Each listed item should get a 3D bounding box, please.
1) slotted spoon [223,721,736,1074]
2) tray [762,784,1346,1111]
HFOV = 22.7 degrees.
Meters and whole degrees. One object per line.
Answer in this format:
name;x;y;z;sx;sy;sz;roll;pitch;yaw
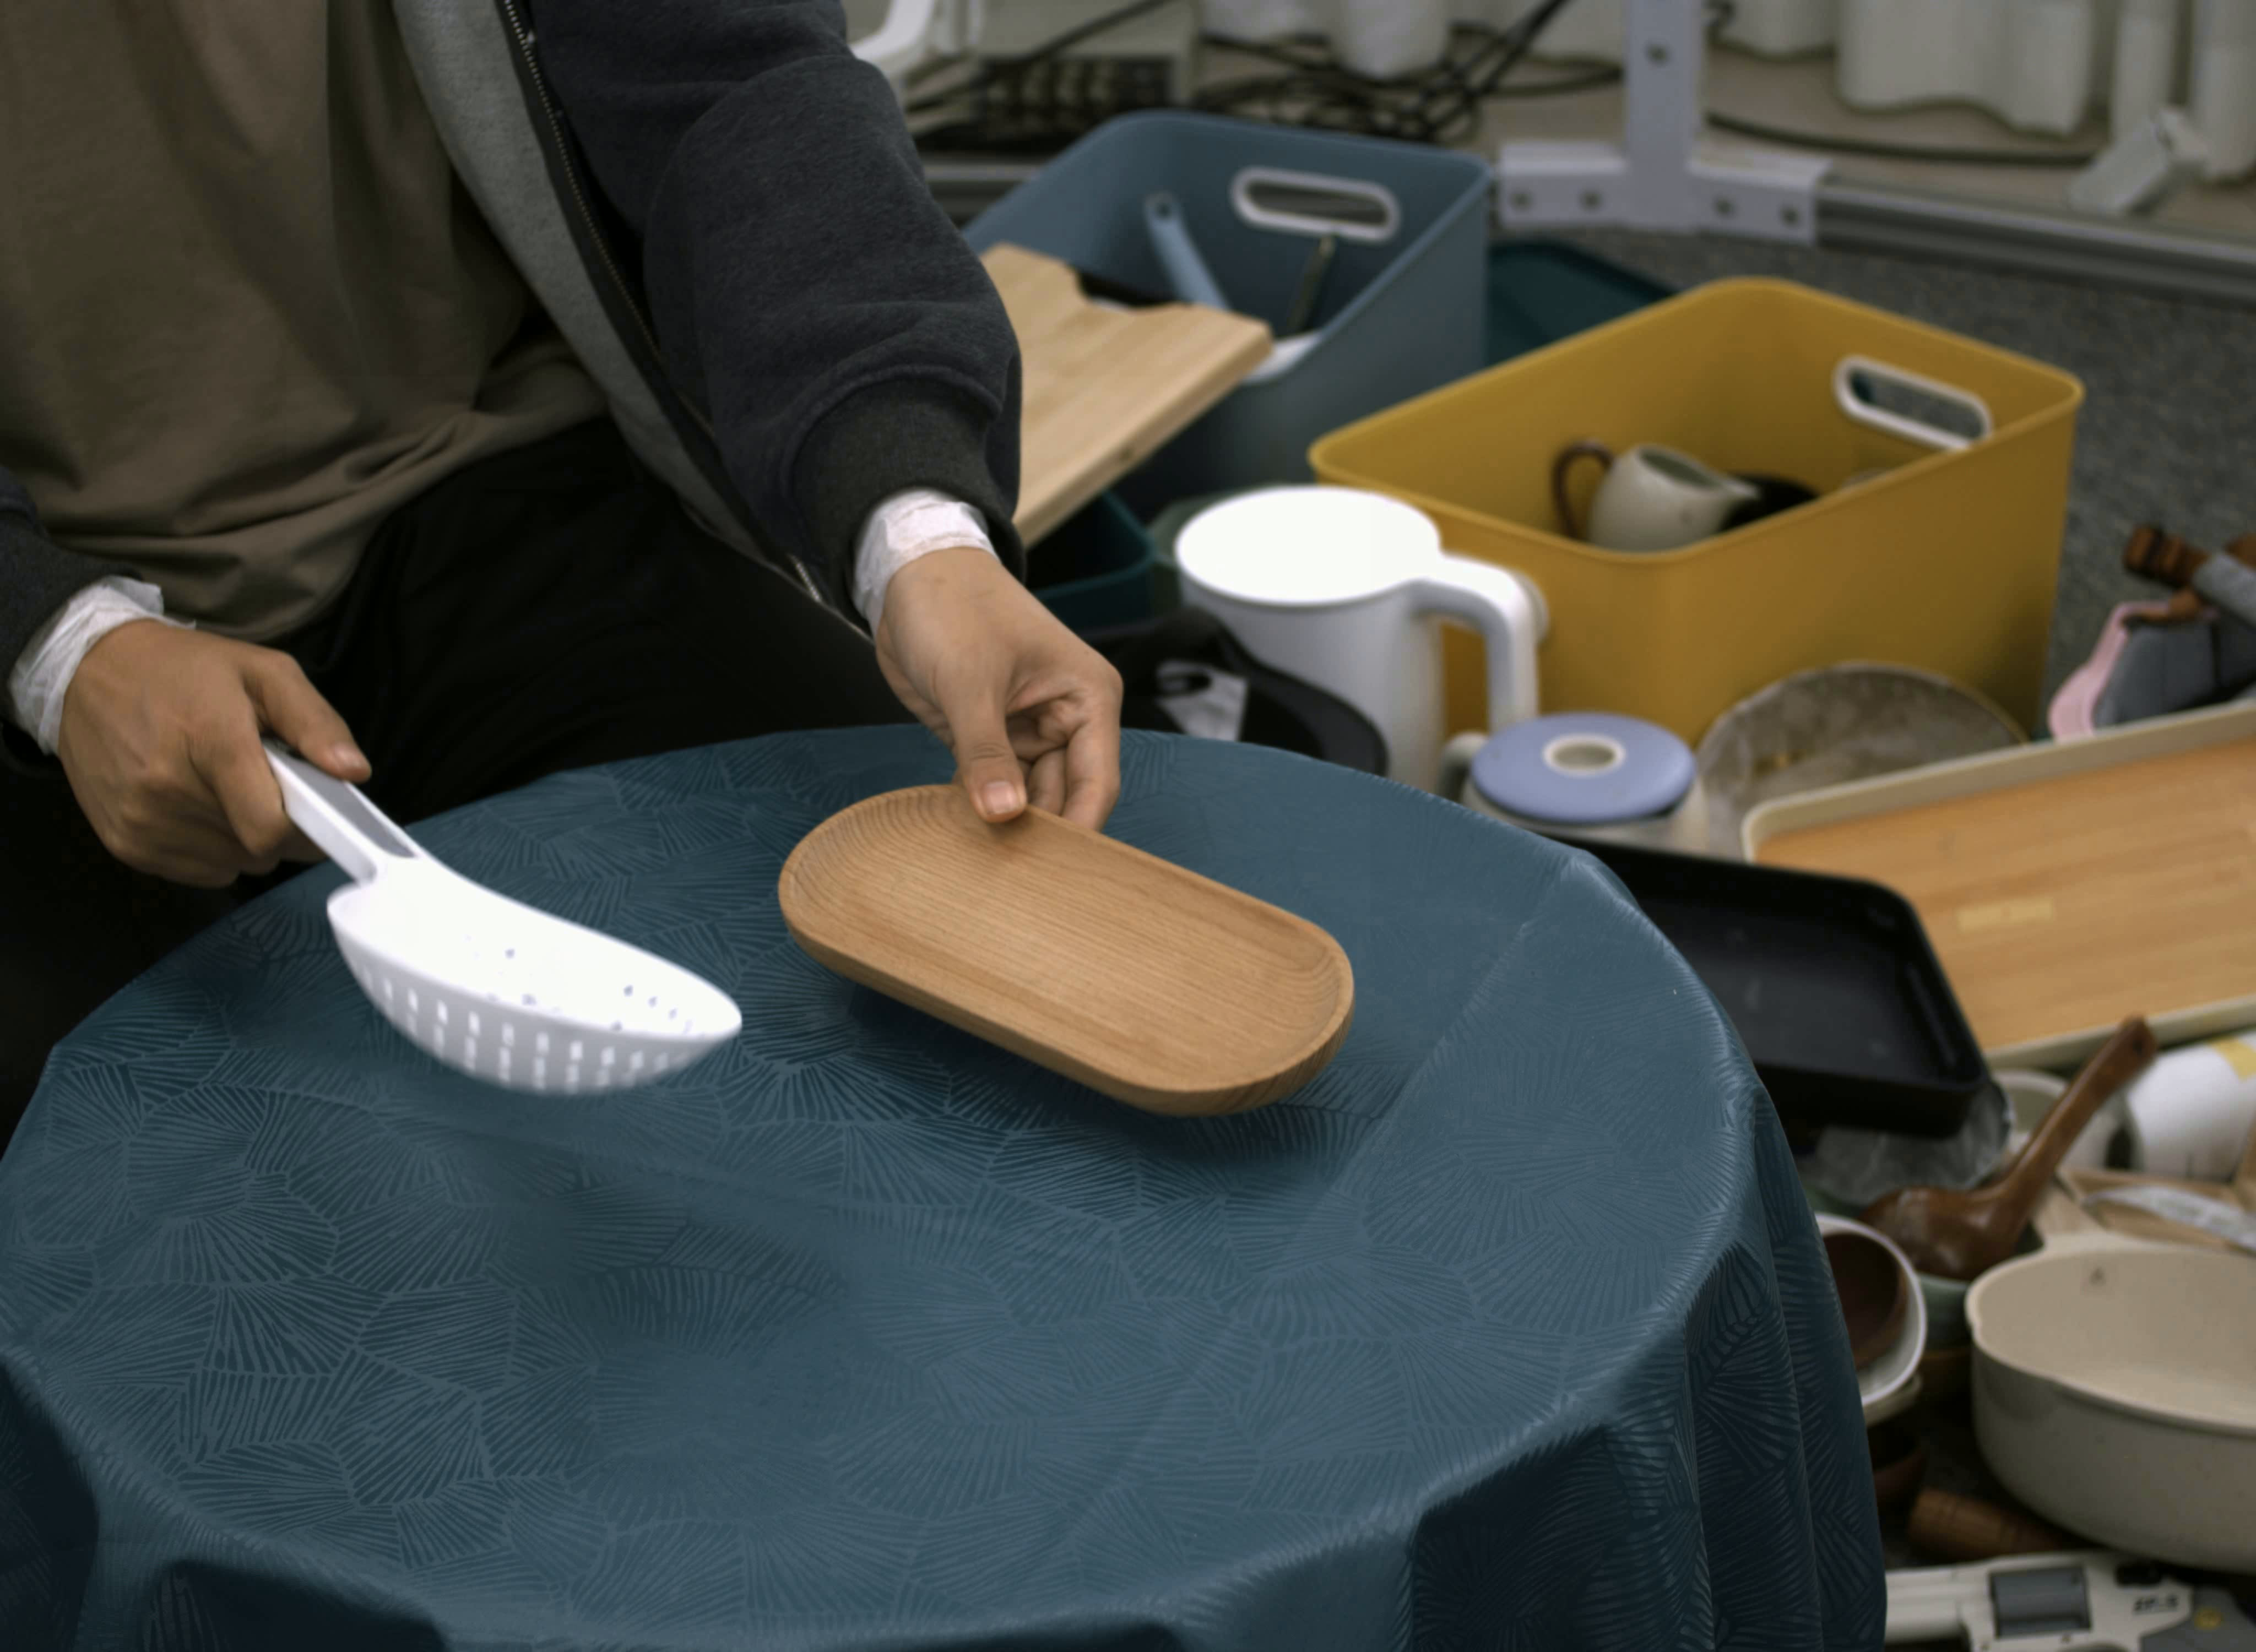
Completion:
slotted spoon;-0.239;0.016;1.877;0.136;0.045;0.351;14;13;-30
tray;-0.027;0.041;1.934;0.230;0.020;0.103;20;43;34
